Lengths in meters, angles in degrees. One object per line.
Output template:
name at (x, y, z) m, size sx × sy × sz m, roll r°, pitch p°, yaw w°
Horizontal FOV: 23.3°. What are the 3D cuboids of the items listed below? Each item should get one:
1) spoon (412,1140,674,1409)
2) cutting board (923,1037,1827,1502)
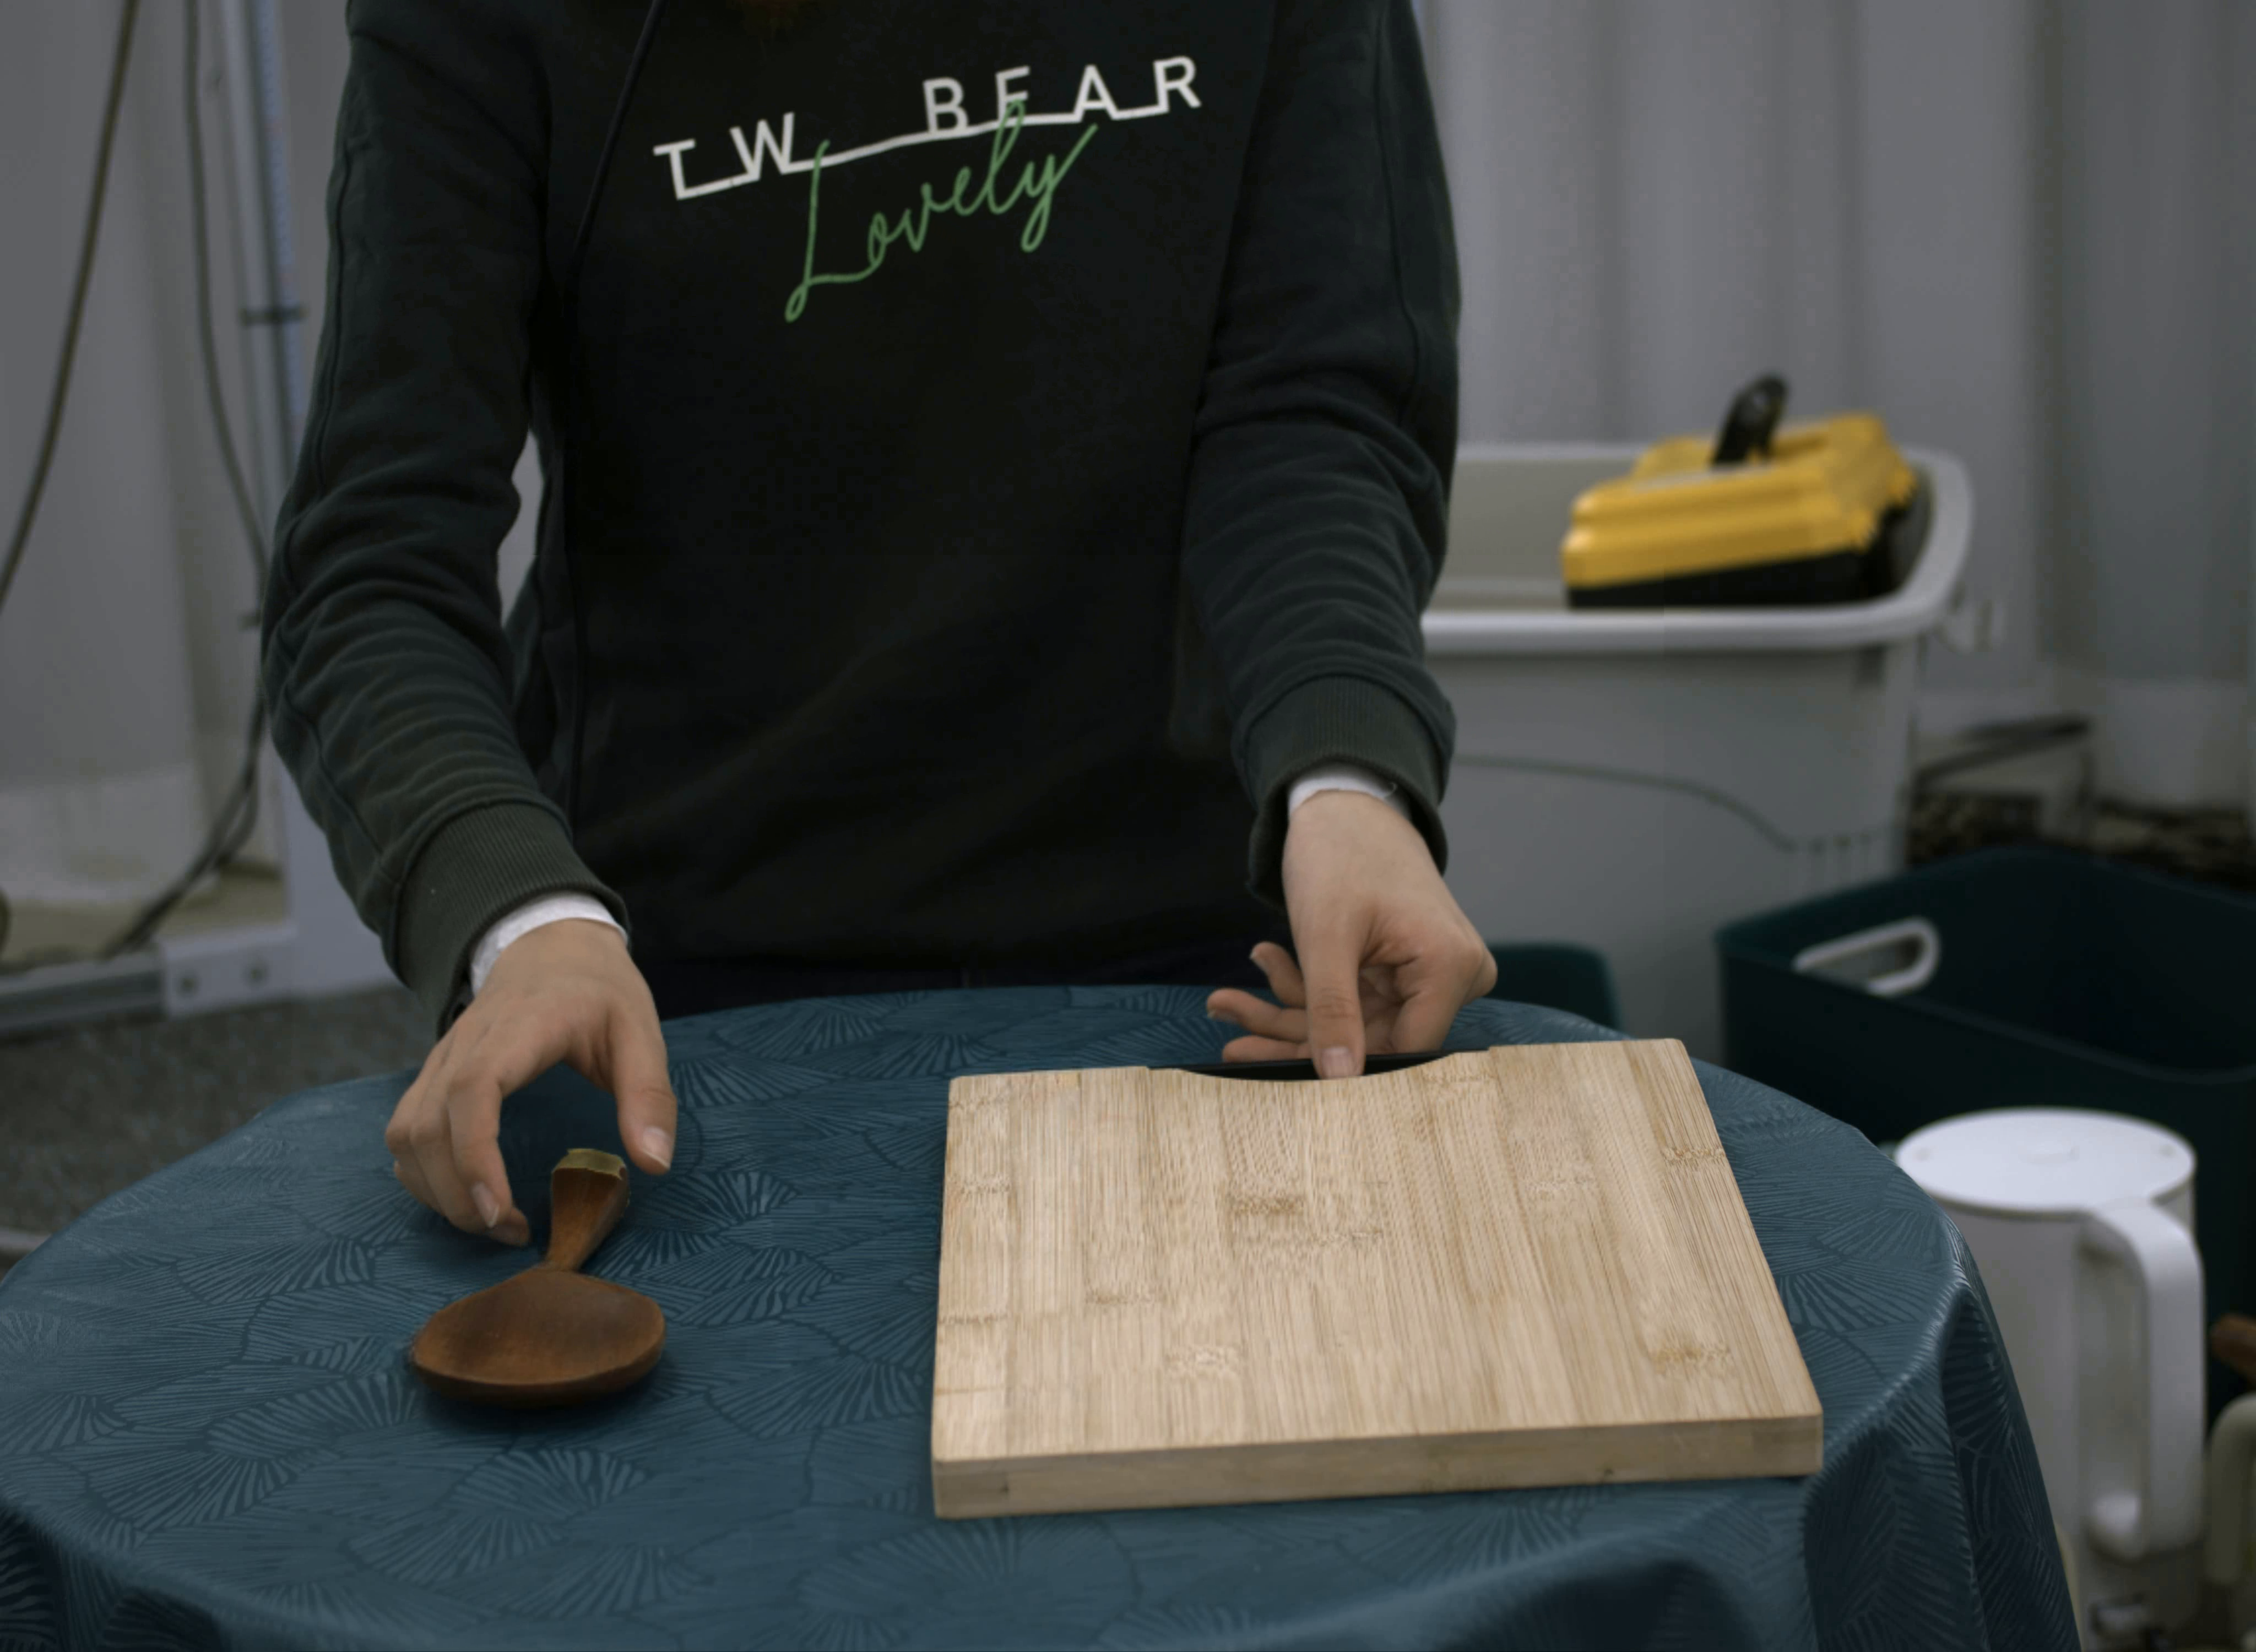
spoon at (-0.168, 0.135, 1.636) m, size 0.075 × 0.017 × 0.217 m, roll -3°, pitch 15°, yaw 1°
cutting board at (0.065, 0.127, 1.626) m, size 0.250 × 0.023 × 0.351 m, roll -3°, pitch 15°, yaw -1°
